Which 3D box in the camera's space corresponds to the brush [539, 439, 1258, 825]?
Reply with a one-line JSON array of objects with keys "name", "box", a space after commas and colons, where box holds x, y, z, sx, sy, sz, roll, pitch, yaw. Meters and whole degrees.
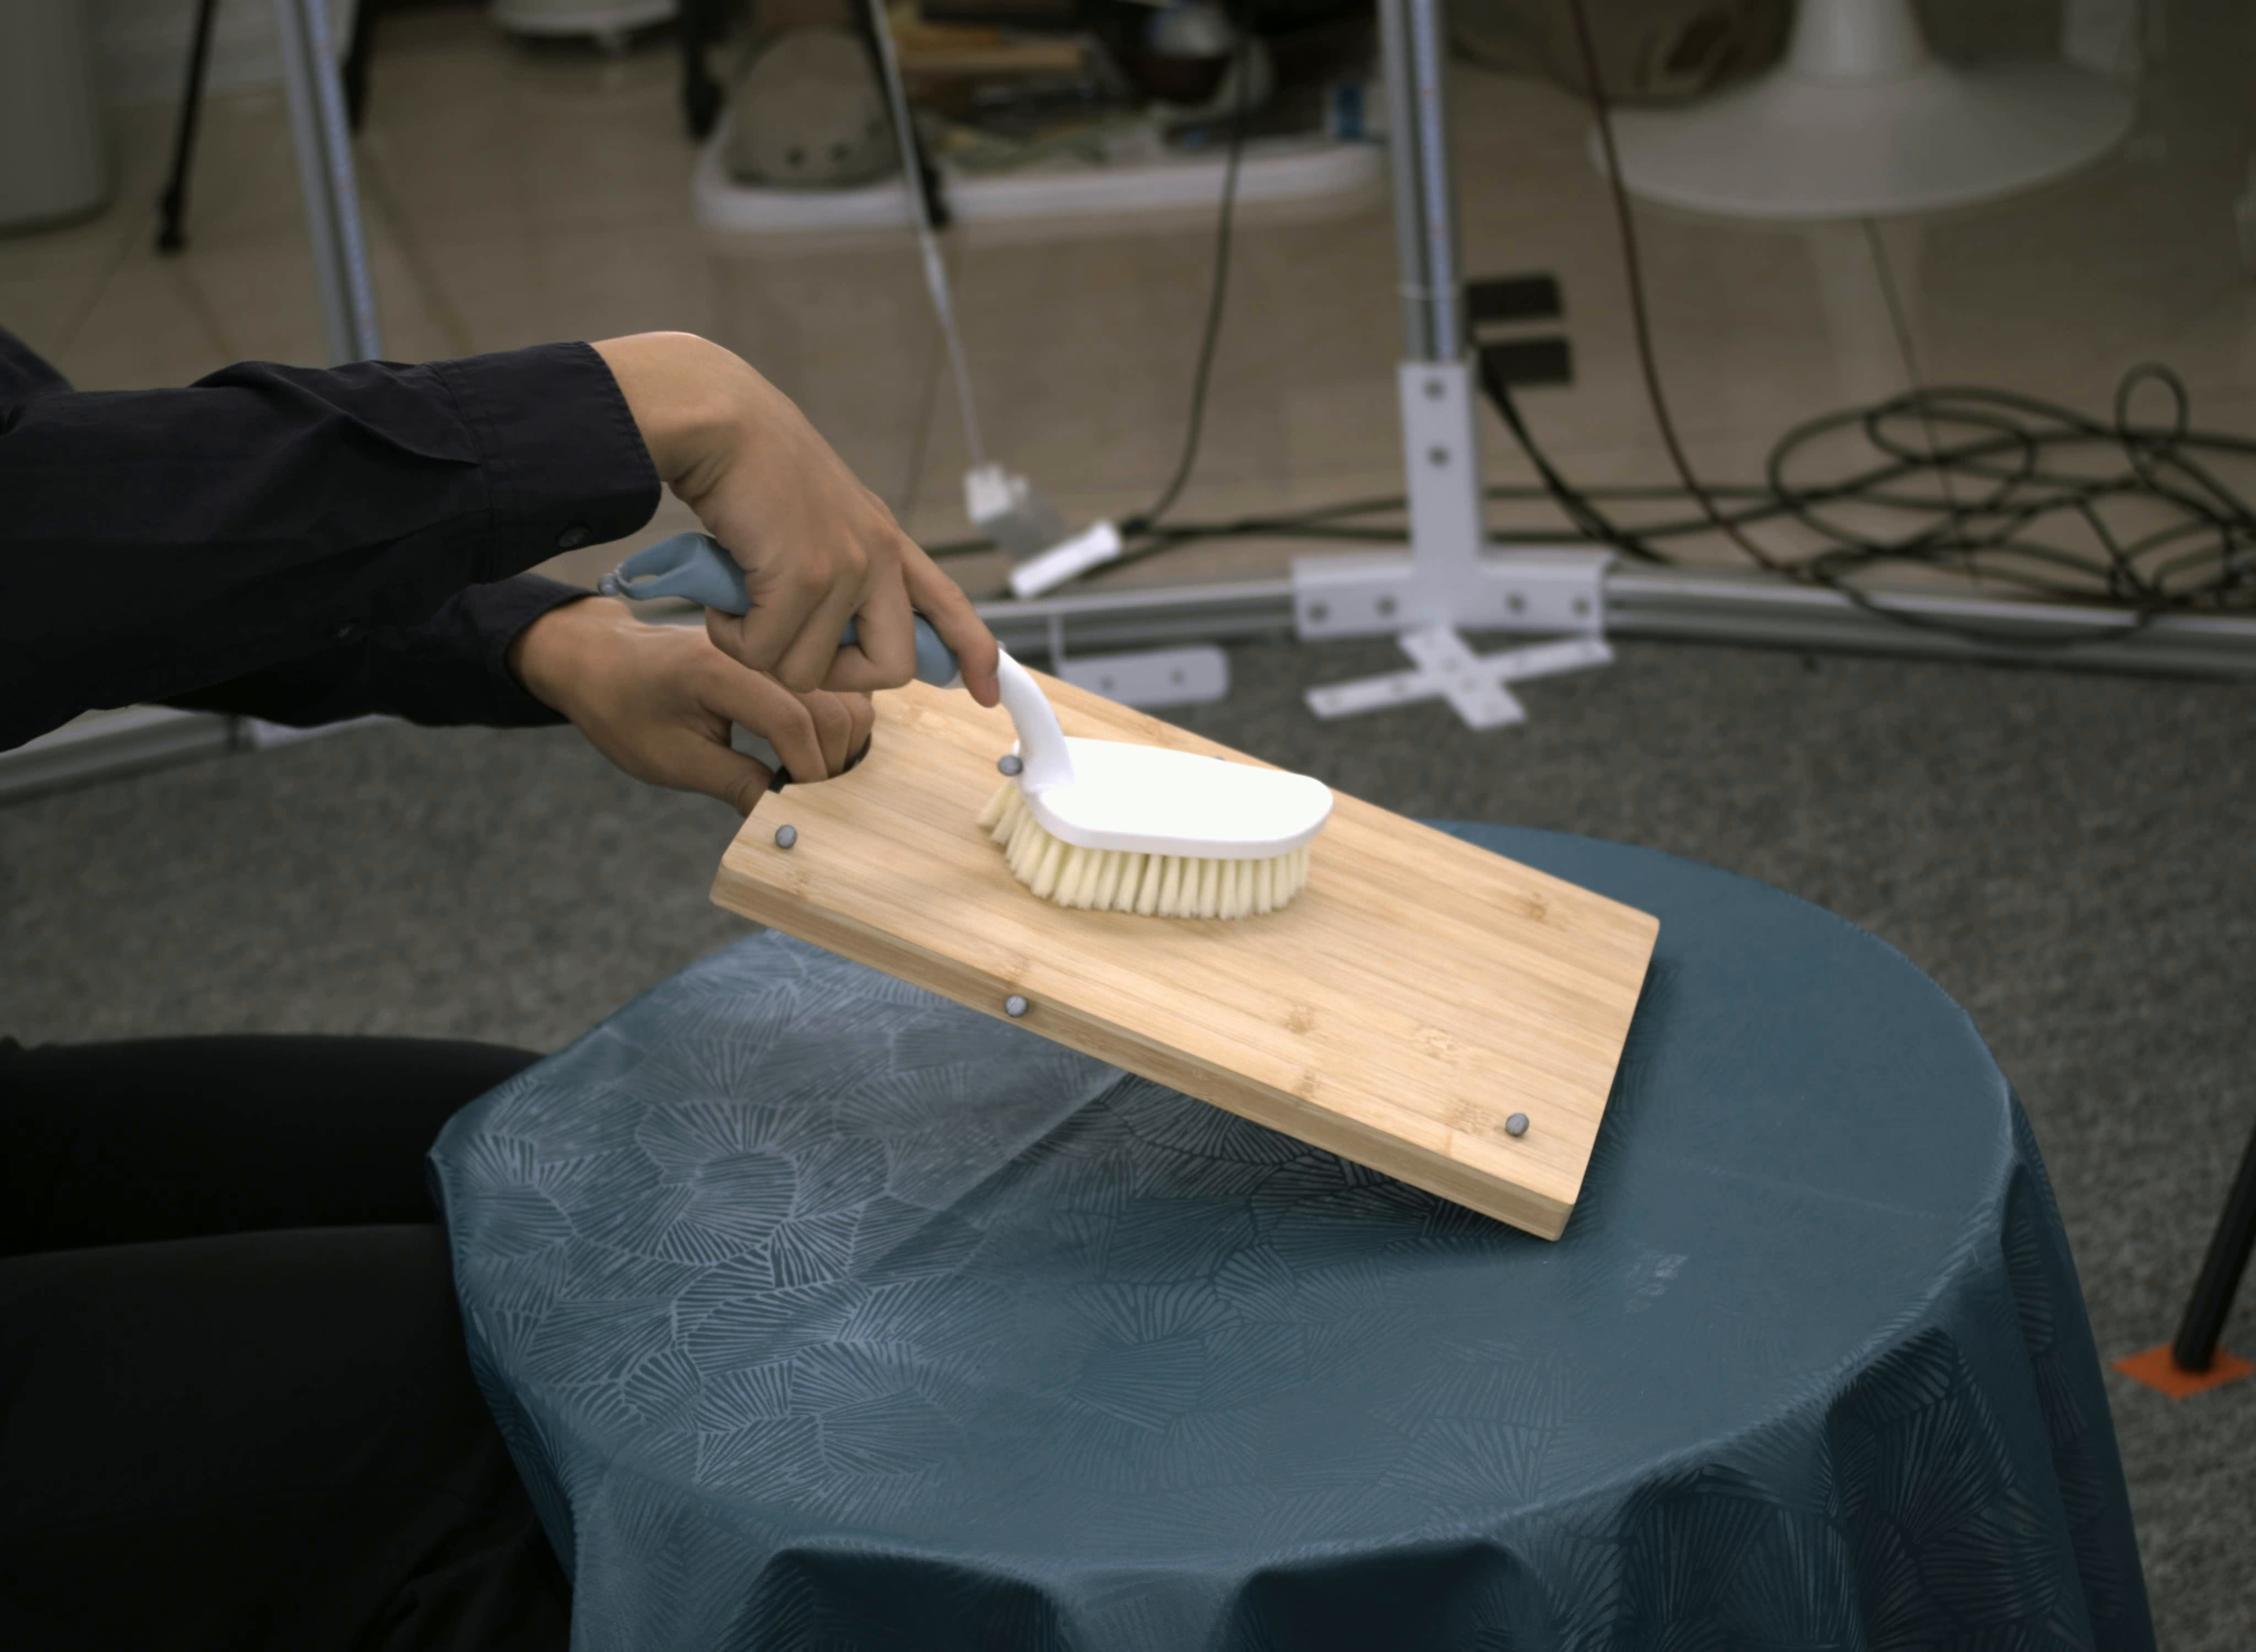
[{"name": "brush", "box": [-0.096, -0.062, 2.139, 0.327, 0.084, 0.083, 18, -11, -33]}]

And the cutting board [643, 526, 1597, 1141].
[{"name": "cutting board", "box": [0.004, -0.001, 2.210, 0.348, 0.024, 0.247, 21, 28, 1]}]
